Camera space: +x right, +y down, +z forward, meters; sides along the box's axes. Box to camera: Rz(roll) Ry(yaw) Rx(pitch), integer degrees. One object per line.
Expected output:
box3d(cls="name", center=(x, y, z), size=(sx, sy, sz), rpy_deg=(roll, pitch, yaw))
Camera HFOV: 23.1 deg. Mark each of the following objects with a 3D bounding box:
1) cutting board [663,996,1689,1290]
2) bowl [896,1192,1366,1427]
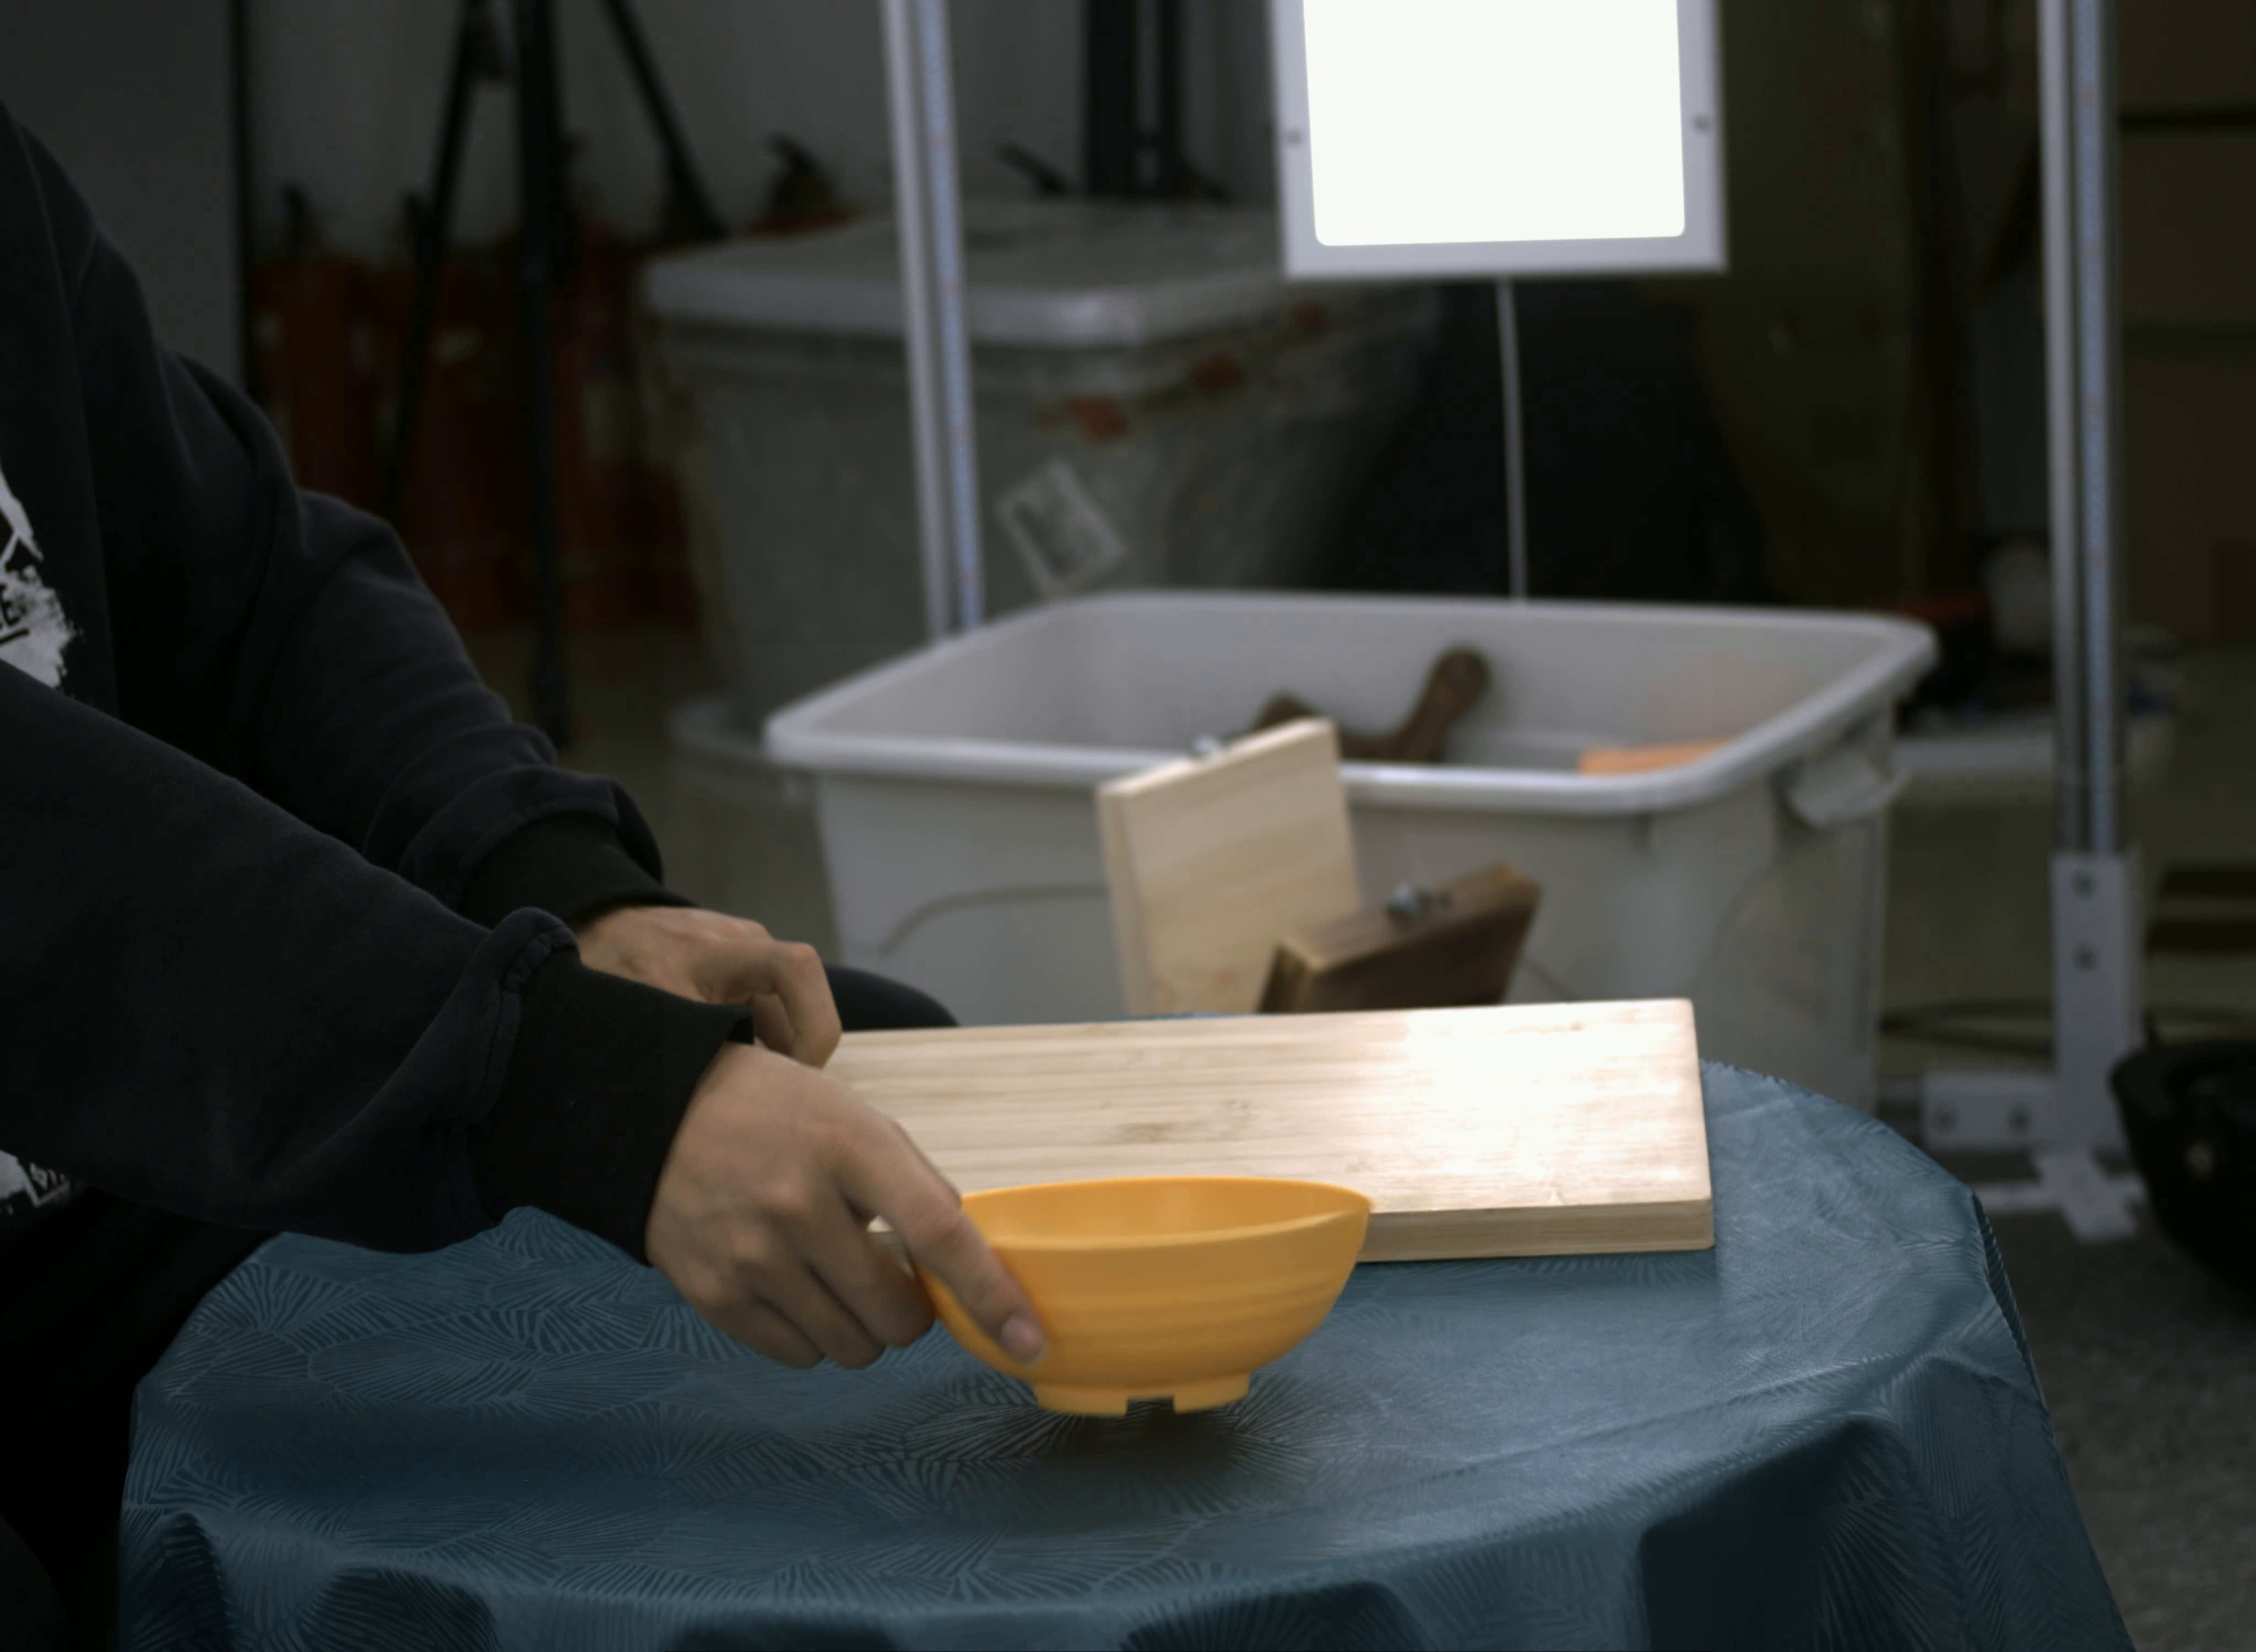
box3d(cls="cutting board", center=(0.025, 0.109, 1.921), size=(0.349, 0.023, 0.249), rpy_deg=(-3, 14, 6))
box3d(cls="bowl", center=(0.003, 0.147, 1.664), size=(0.145, 0.060, 0.145), rpy_deg=(-4, 3, -1))
